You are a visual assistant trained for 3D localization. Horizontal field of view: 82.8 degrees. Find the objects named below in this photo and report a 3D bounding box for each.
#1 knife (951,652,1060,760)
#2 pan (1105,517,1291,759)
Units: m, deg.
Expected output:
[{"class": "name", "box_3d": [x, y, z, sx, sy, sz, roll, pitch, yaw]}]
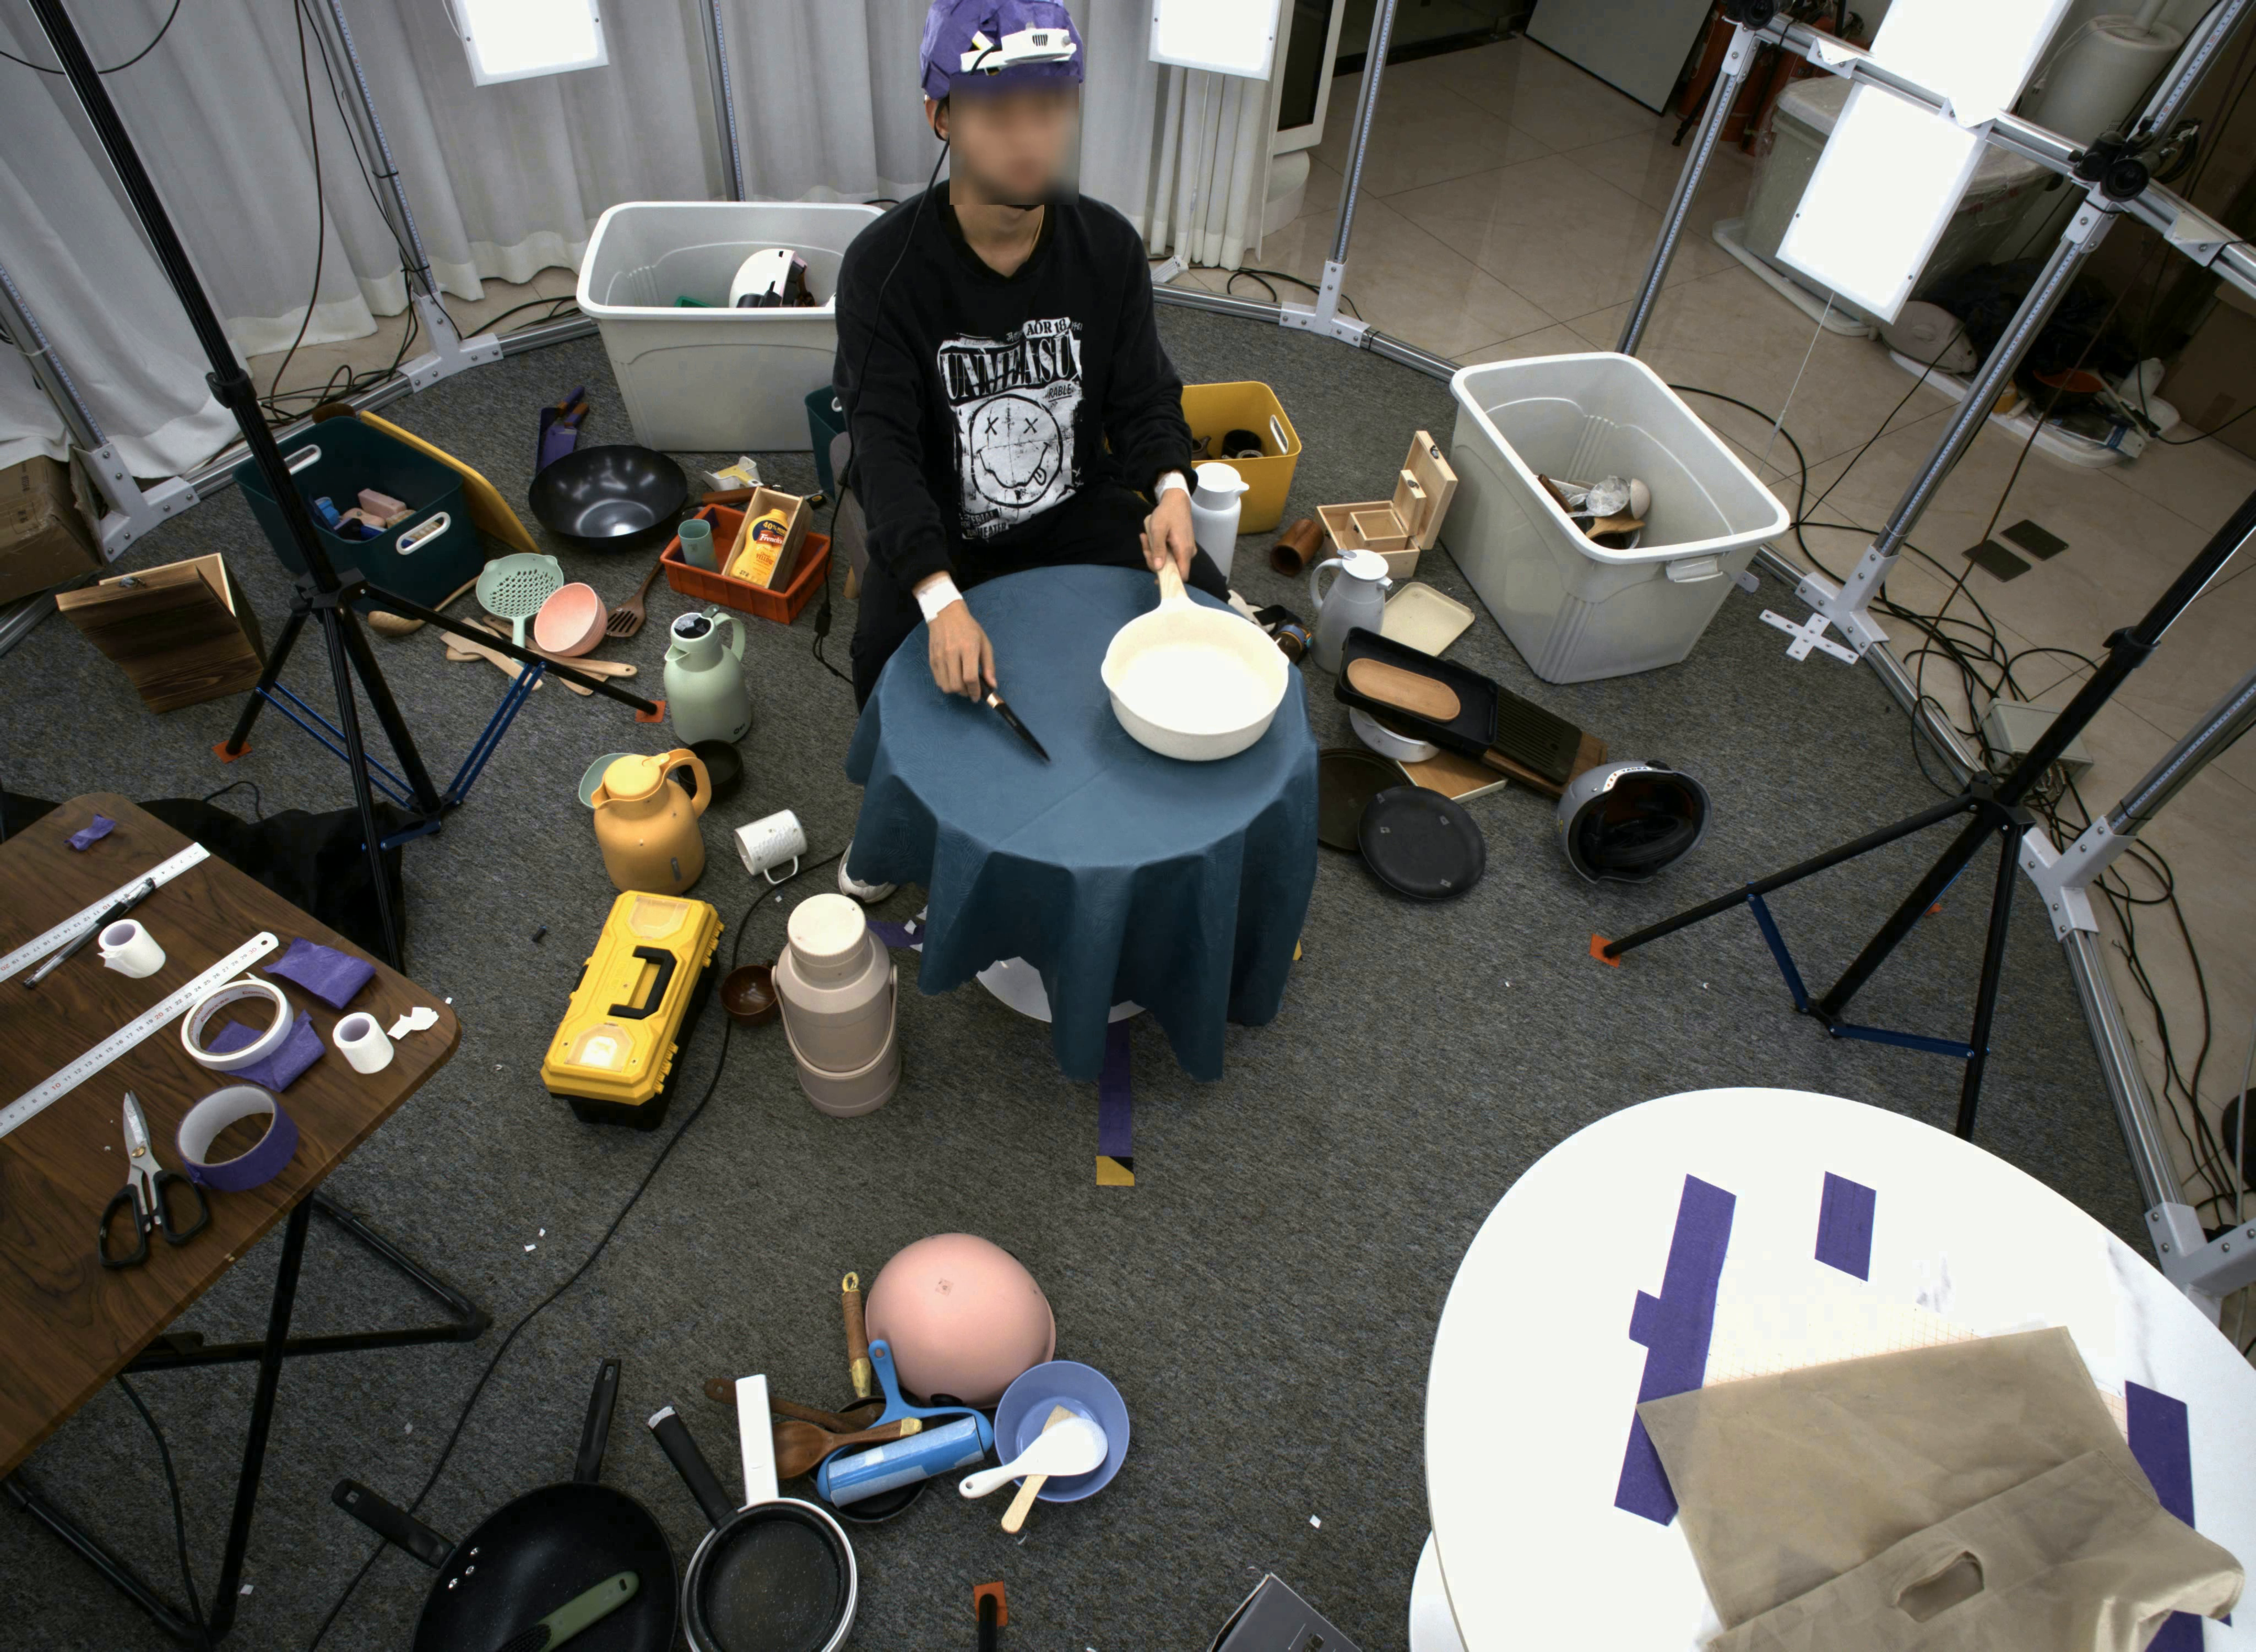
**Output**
[{"class": "knife", "box_3d": [-0.171, -0.166, 1.768, 0.229, 0.017, 0.026, 46, 36, 22]}, {"class": "pan", "box_3d": [0.078, -0.270, 1.844, 0.263, 0.099, 0.446, -8, 50, -8]}]
